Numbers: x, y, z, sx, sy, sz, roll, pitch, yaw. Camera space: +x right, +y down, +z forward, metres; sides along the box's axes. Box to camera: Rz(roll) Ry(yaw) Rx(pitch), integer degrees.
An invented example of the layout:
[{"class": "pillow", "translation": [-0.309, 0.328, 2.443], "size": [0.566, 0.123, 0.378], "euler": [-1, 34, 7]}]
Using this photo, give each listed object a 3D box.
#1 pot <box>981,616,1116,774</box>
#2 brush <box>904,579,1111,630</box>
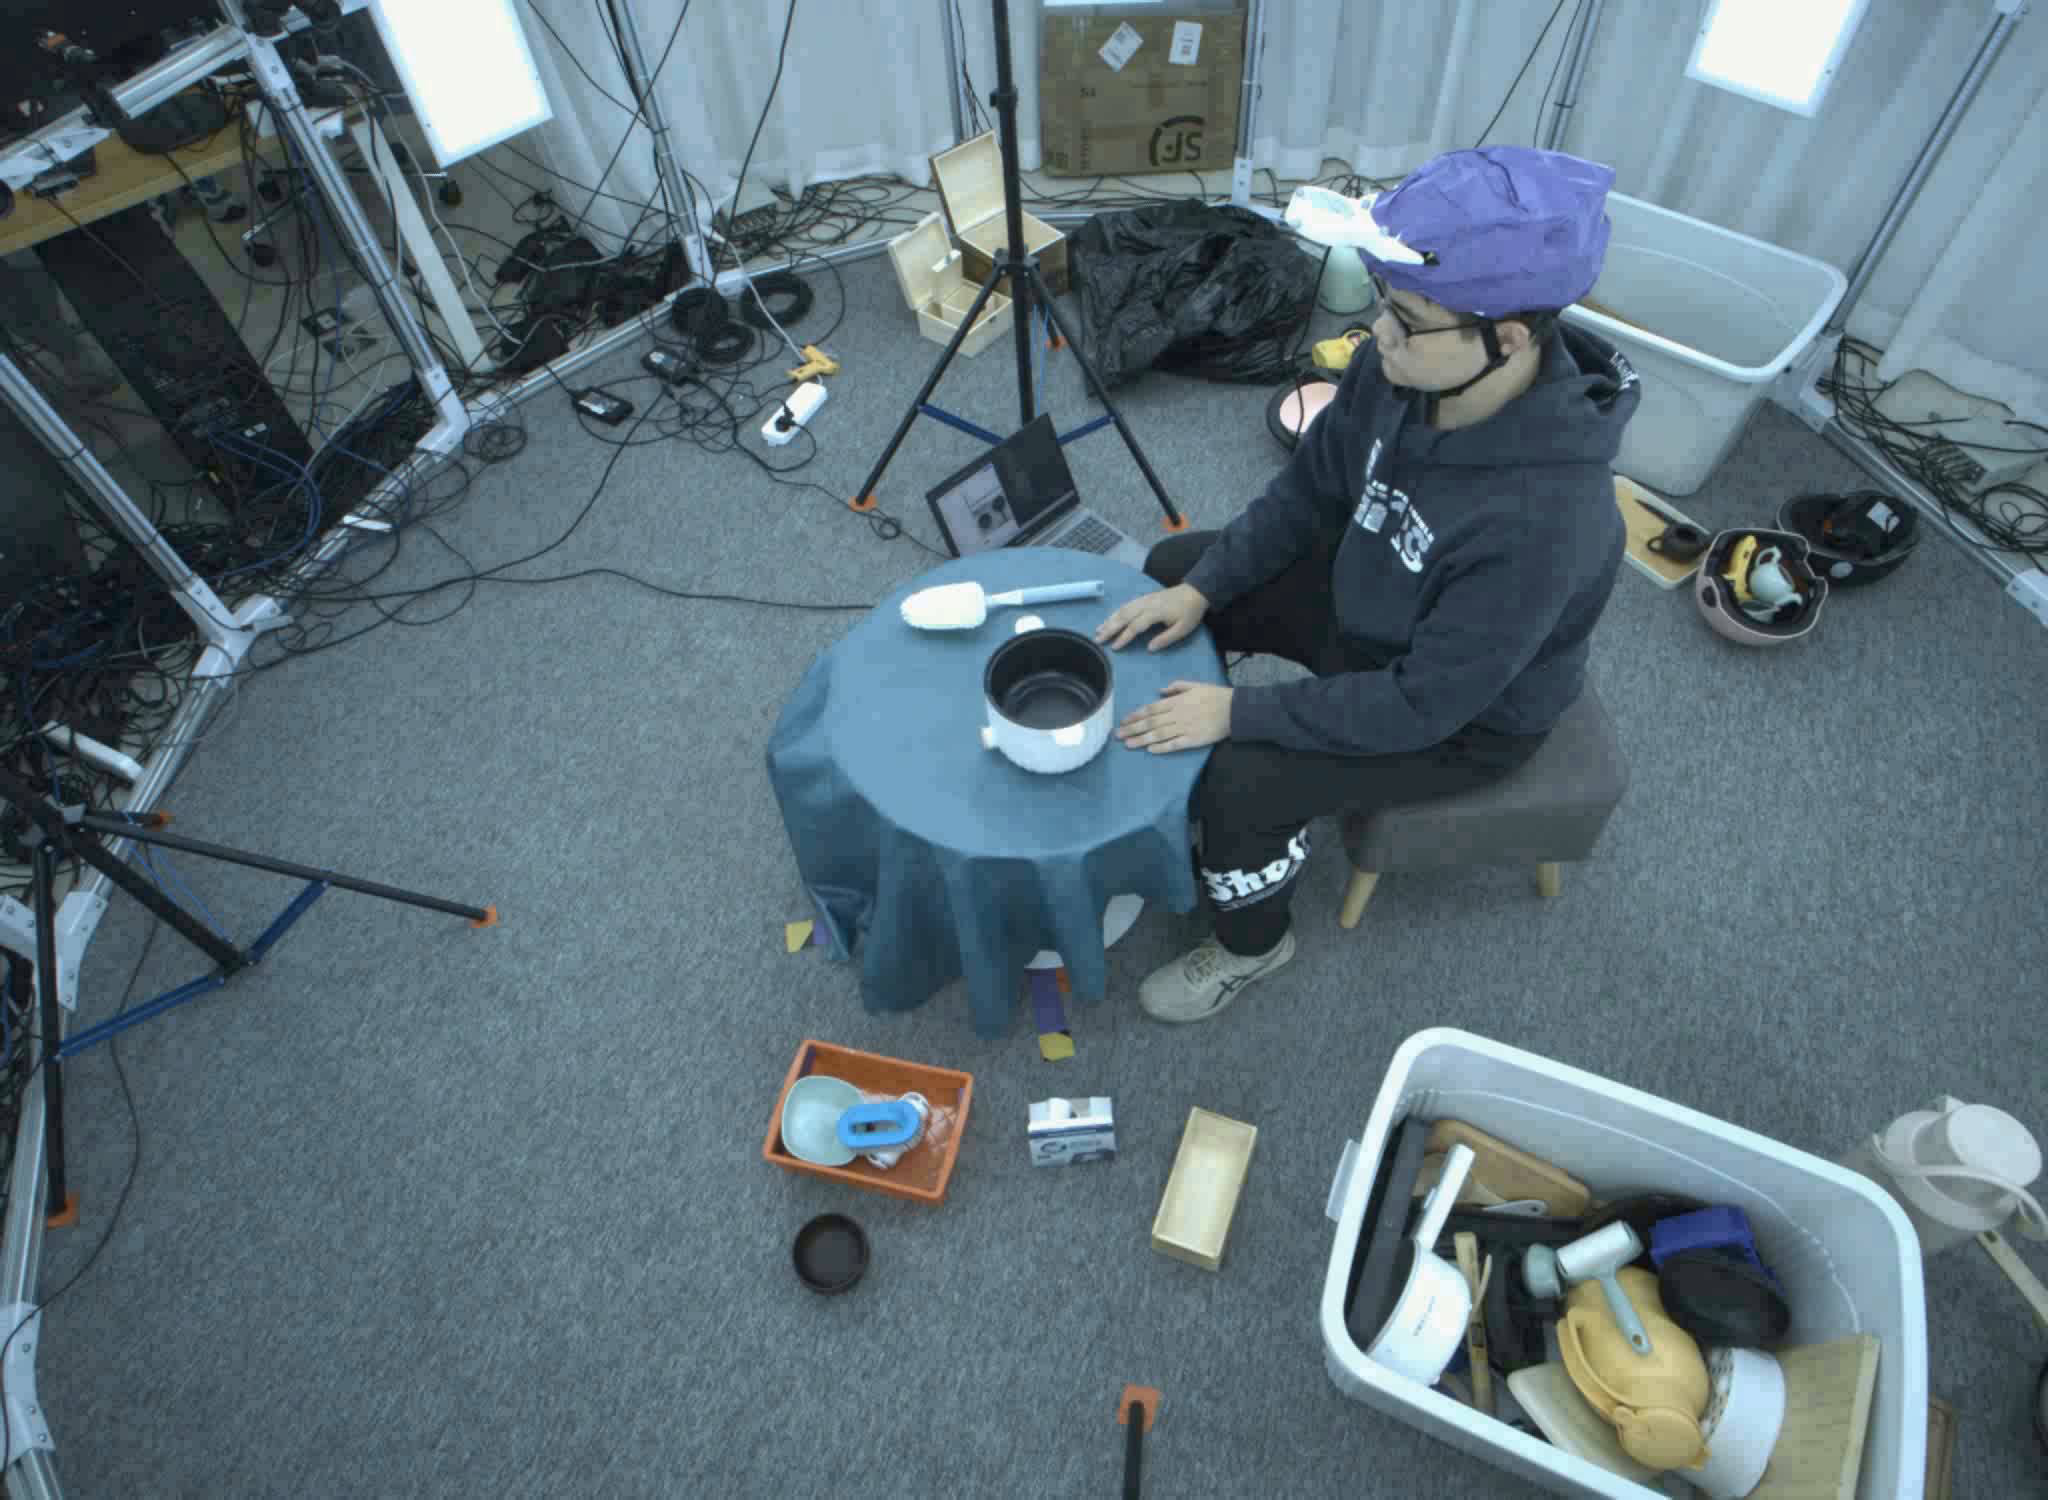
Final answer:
[{"class": "pot", "translation": [0.032, -0.060, 1.744], "size": [0.192, 0.144, 0.236], "euler": [-13, 54, -10]}, {"class": "brush", "translation": [-0.025, -0.238, 1.905], "size": [0.326, 0.084, 0.083], "euler": [-7, 49, -2]}]
